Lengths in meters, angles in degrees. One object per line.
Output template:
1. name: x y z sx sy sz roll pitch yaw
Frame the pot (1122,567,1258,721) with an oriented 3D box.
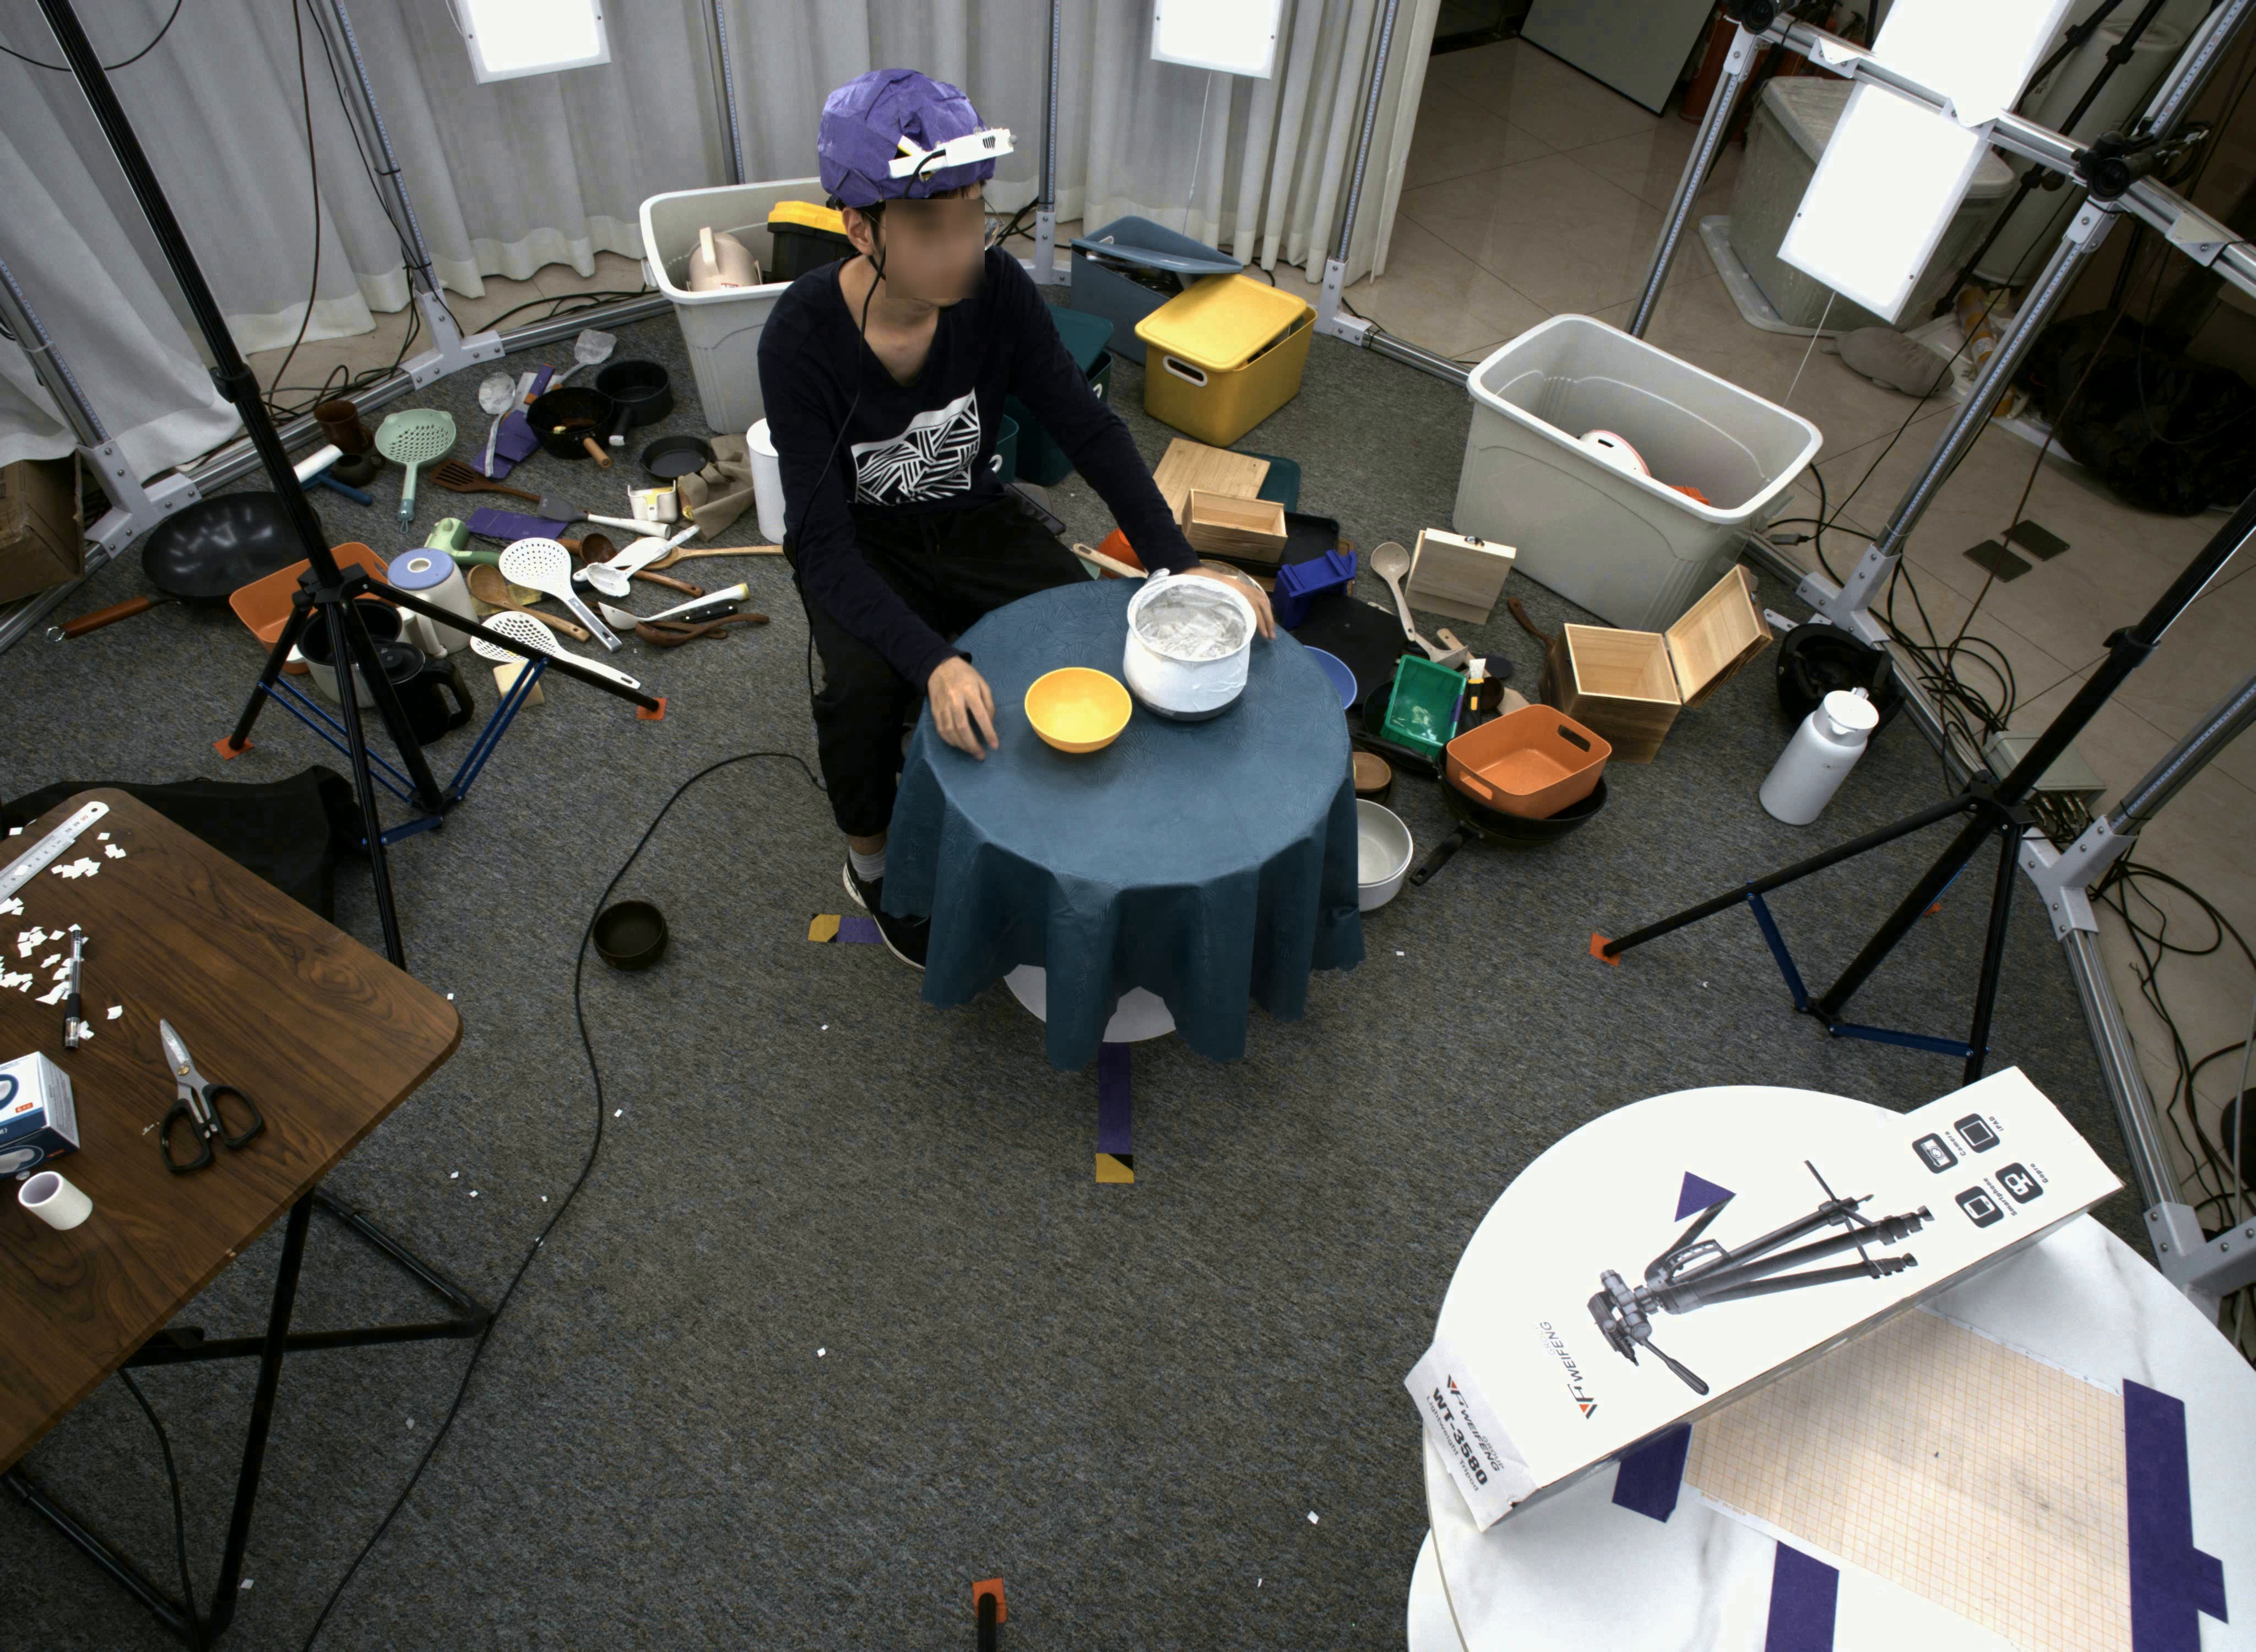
1. pot: 0.073 -0.267 1.814 0.179 0.133 0.239 -14 52 -19

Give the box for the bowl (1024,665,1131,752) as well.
1. bowl: -0.071 -0.149 1.751 0.145 0.059 0.149 3 50 -4
